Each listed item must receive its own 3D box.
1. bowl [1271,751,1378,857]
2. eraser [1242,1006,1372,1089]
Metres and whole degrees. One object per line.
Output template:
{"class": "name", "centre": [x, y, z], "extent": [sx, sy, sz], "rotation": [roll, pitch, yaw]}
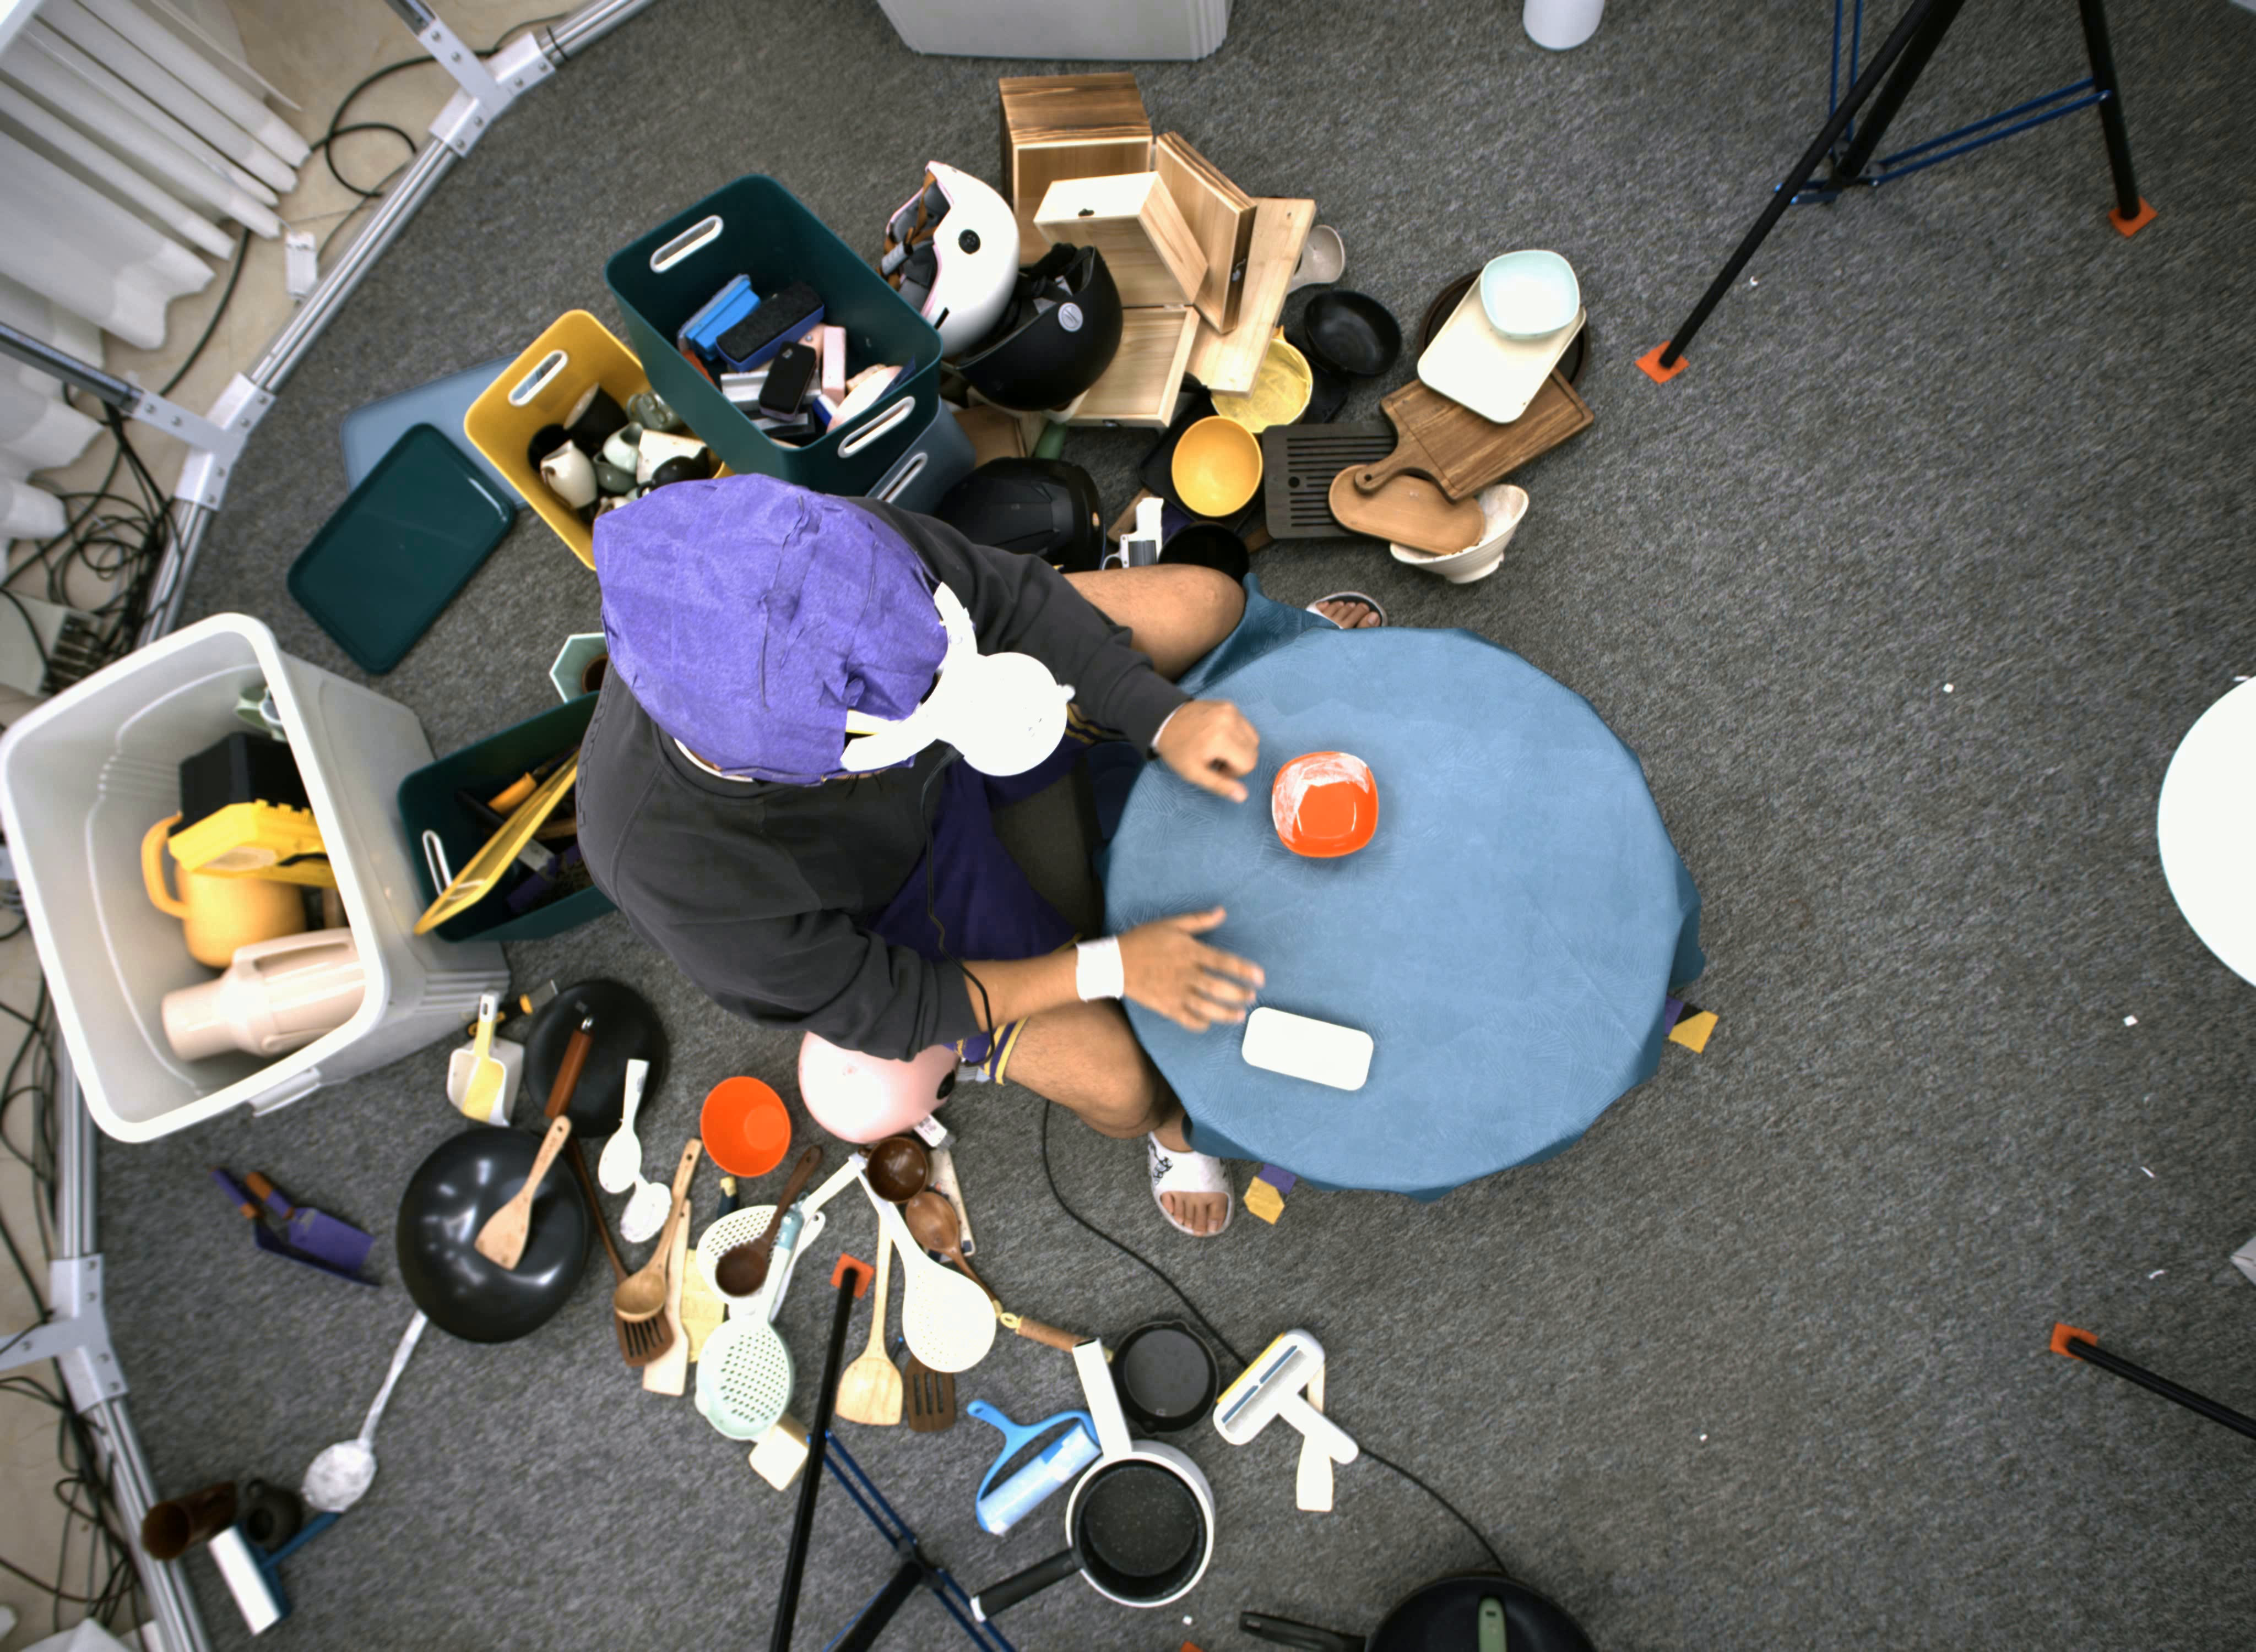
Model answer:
{"class": "bowl", "centre": [0.207, -0.022, 1.450], "extent": [0.119, 0.051, 0.118], "rotation": [-1, 87, 10]}
{"class": "eraser", "centre": [0.187, 0.229, 1.449], "extent": [0.131, 0.034, 0.063], "rotation": [15, 88, 9]}
